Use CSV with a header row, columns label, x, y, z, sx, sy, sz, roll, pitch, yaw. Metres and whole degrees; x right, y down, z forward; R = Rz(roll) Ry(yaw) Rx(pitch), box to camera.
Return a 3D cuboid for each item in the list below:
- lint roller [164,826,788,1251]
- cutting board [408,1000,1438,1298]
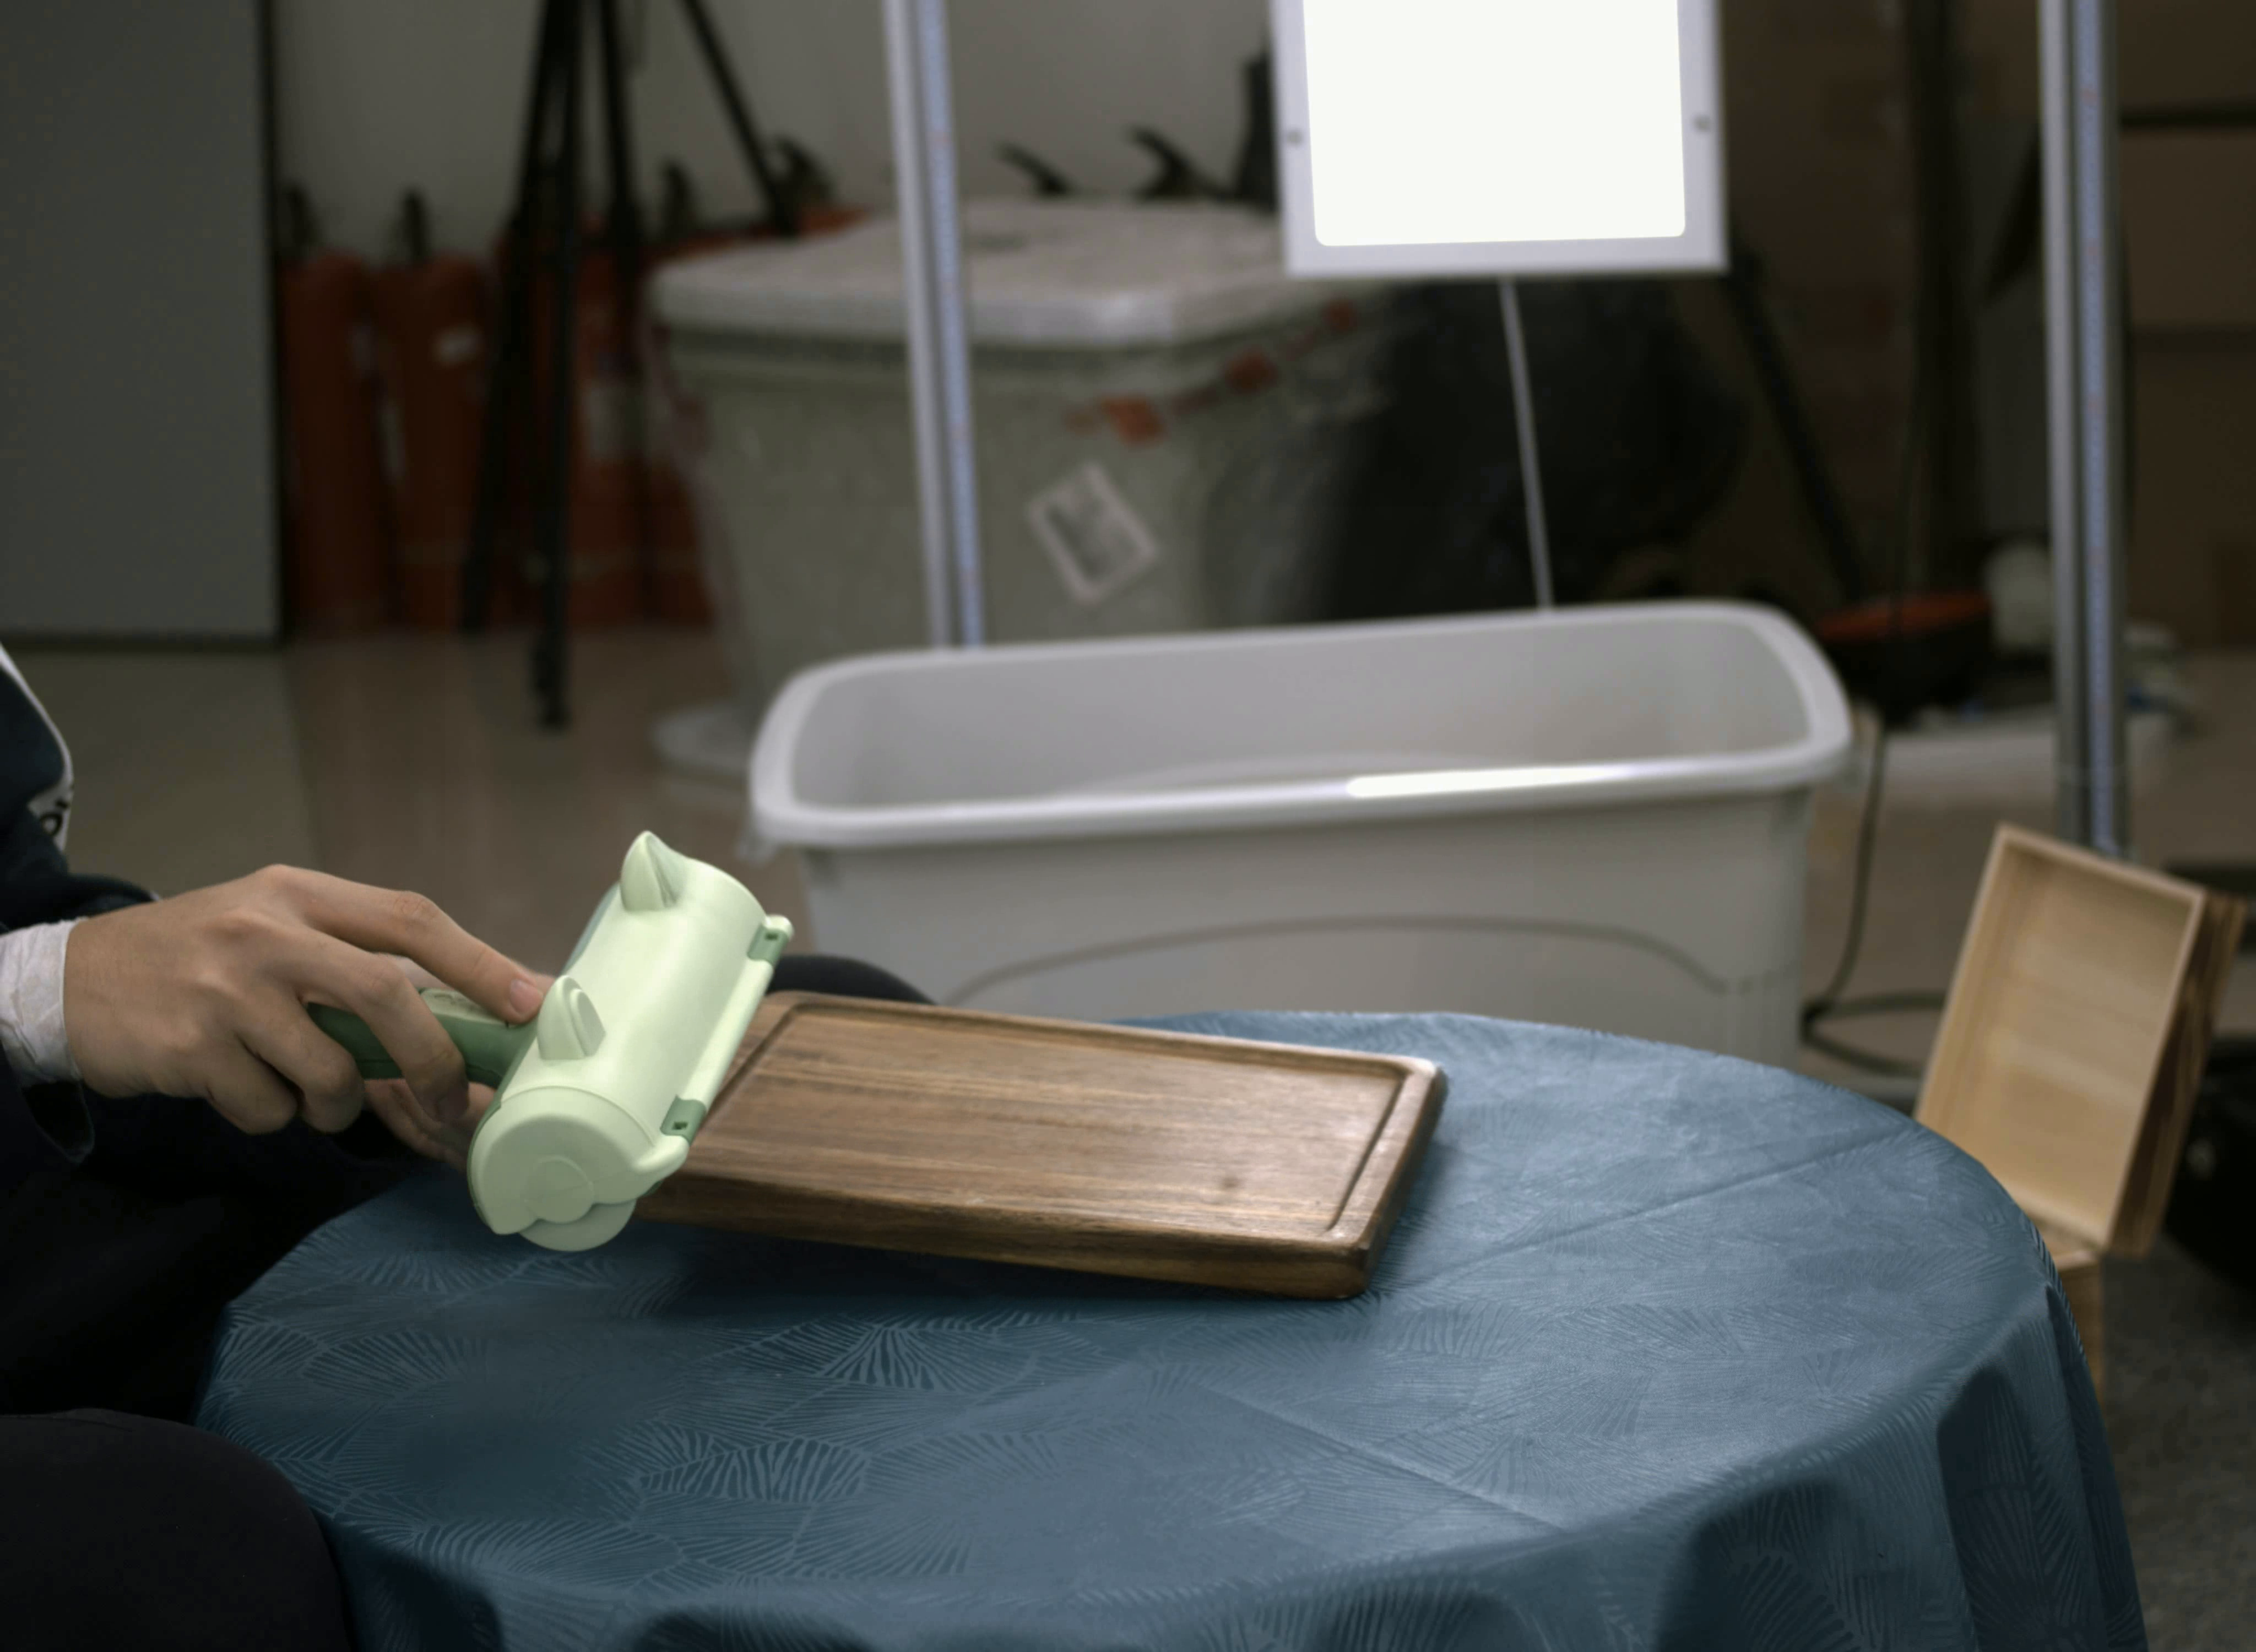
label,x,y,z,sx,sy,sz,roll,pitch,yaw
lint roller,-0.213,0.052,1.741,0.183,0.083,0.196,11,24,5
cutting board,-0.076,0.103,1.887,0.354,0.023,0.198,5,17,12
